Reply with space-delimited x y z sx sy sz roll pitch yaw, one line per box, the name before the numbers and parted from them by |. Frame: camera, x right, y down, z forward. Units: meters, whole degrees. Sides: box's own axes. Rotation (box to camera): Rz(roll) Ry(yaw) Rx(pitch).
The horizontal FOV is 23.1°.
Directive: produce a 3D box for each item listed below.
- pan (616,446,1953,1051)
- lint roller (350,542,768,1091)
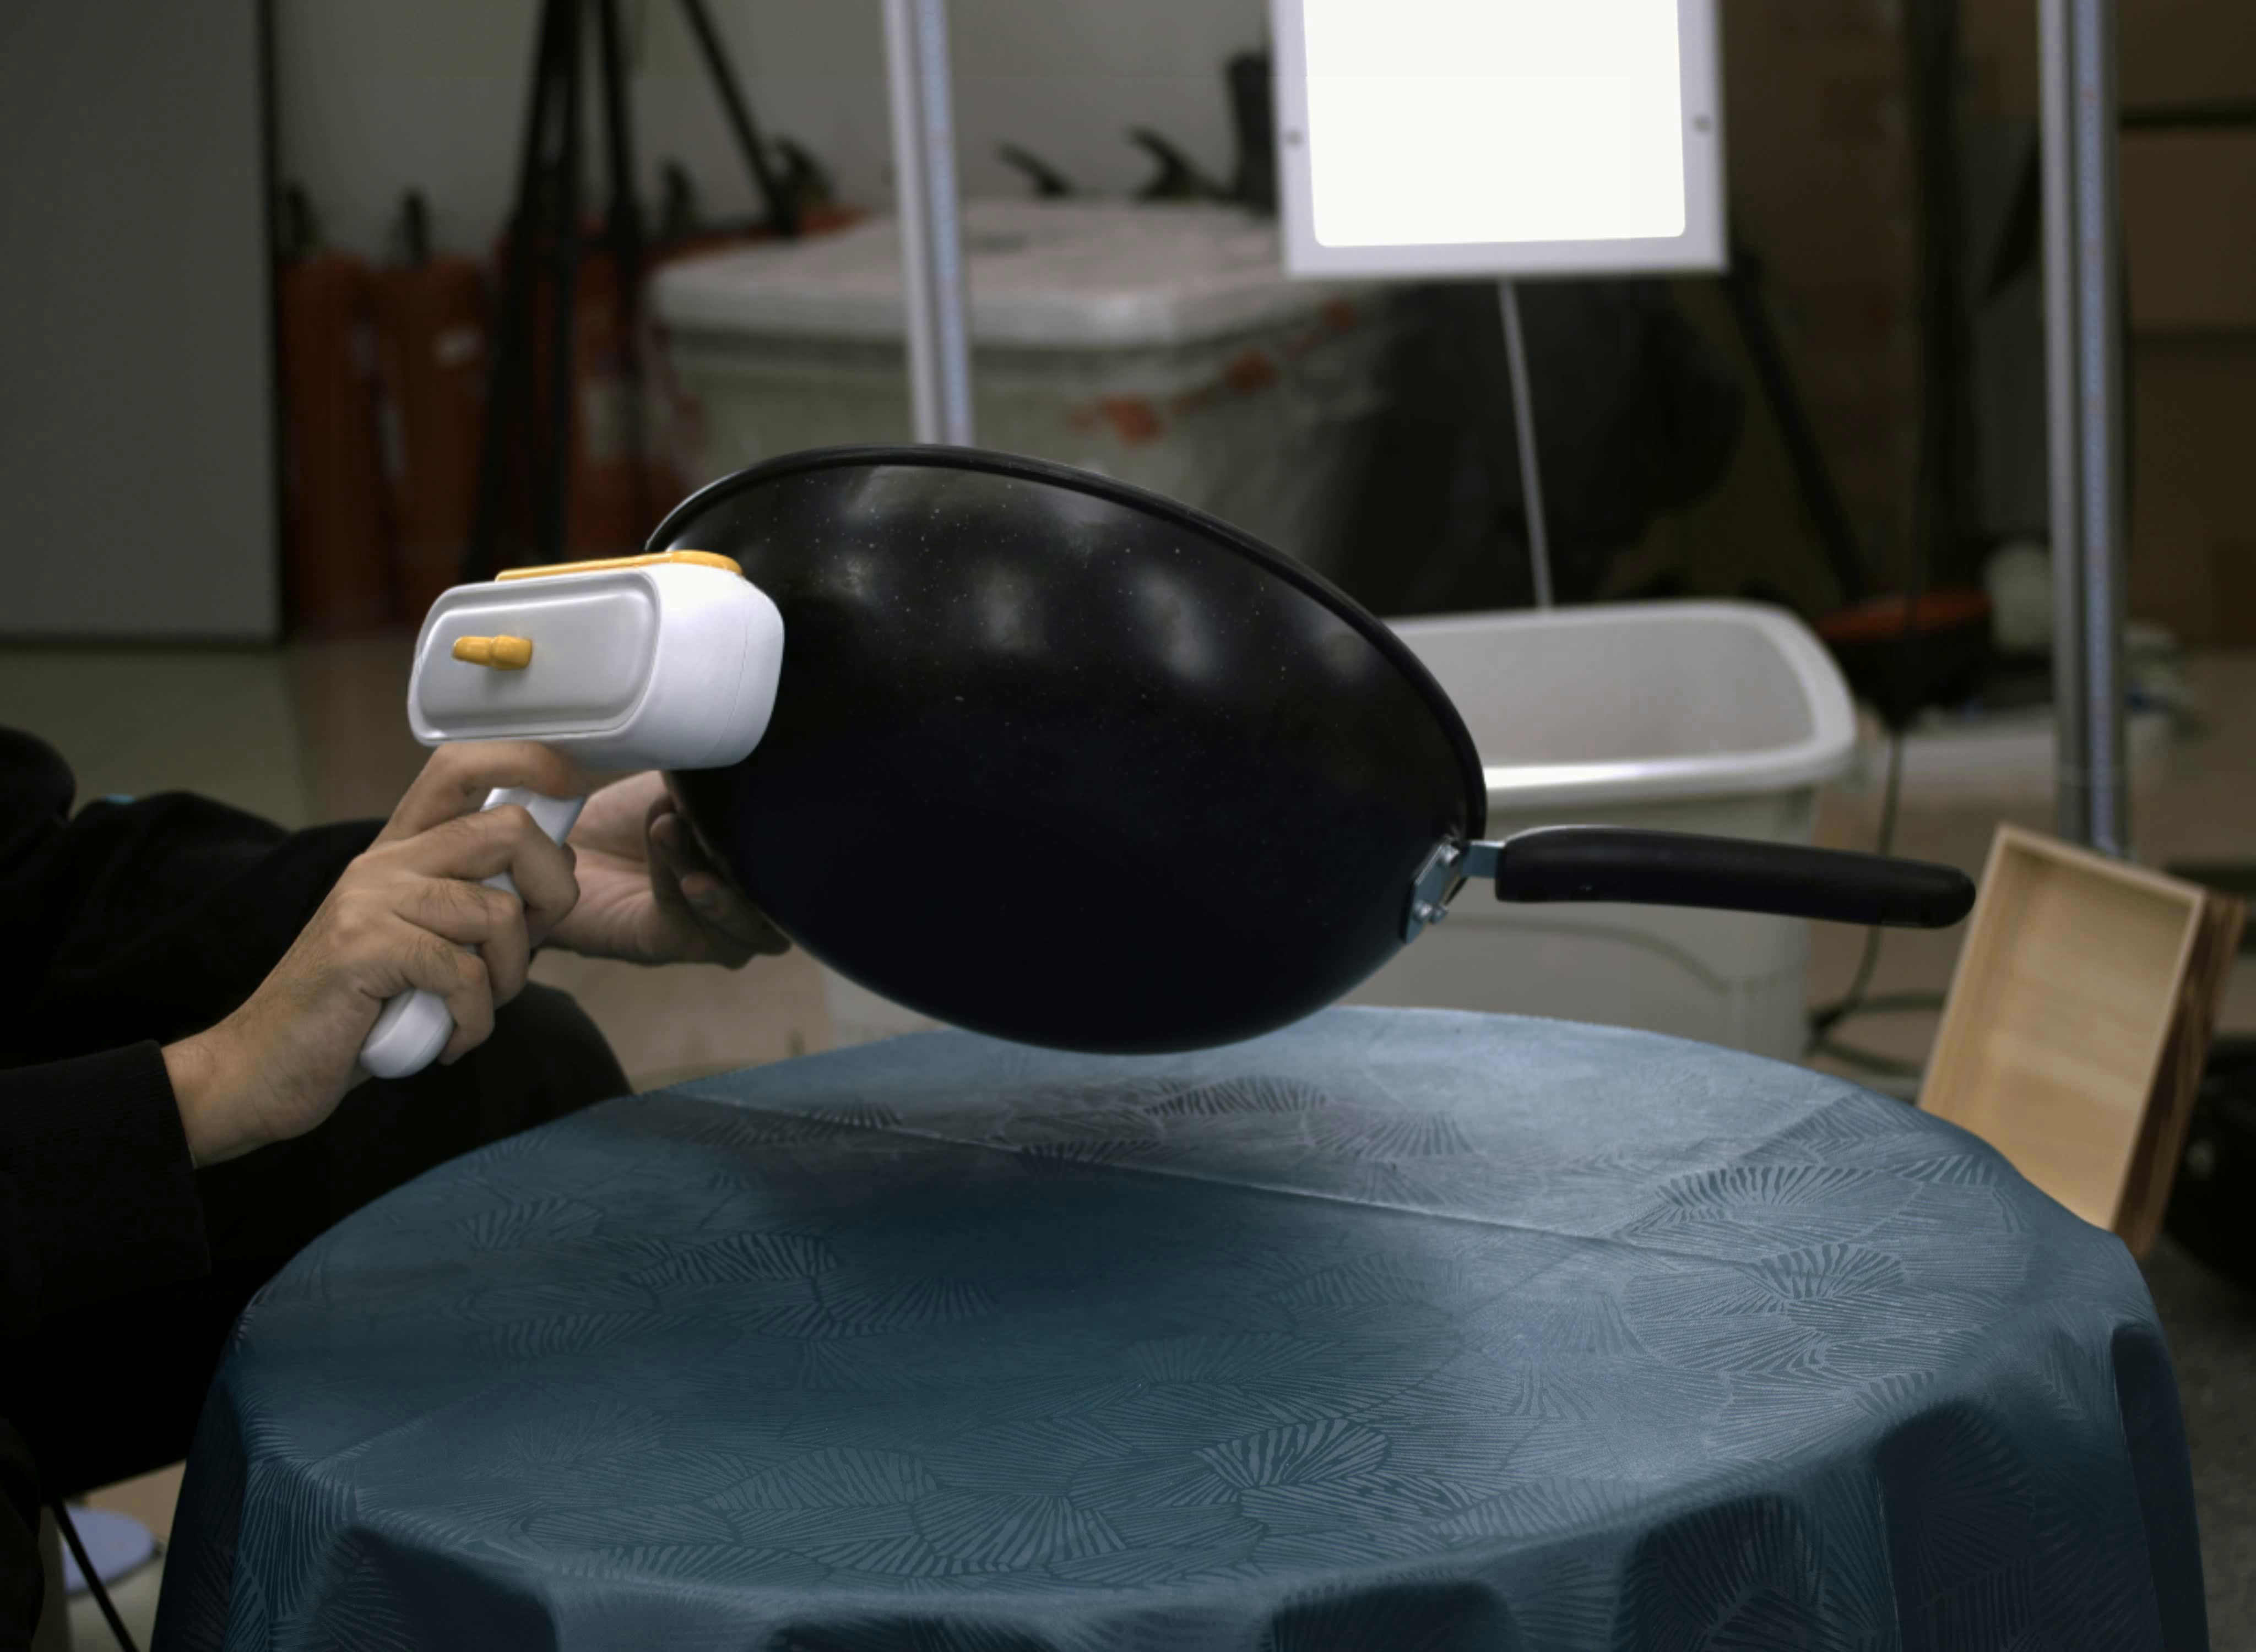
pan | 0.040 0.006 1.877 0.478 0.312 0.111 15 61 7
lint roller | -0.204 0.002 1.829 0.072 0.192 0.197 24 -17 -35
